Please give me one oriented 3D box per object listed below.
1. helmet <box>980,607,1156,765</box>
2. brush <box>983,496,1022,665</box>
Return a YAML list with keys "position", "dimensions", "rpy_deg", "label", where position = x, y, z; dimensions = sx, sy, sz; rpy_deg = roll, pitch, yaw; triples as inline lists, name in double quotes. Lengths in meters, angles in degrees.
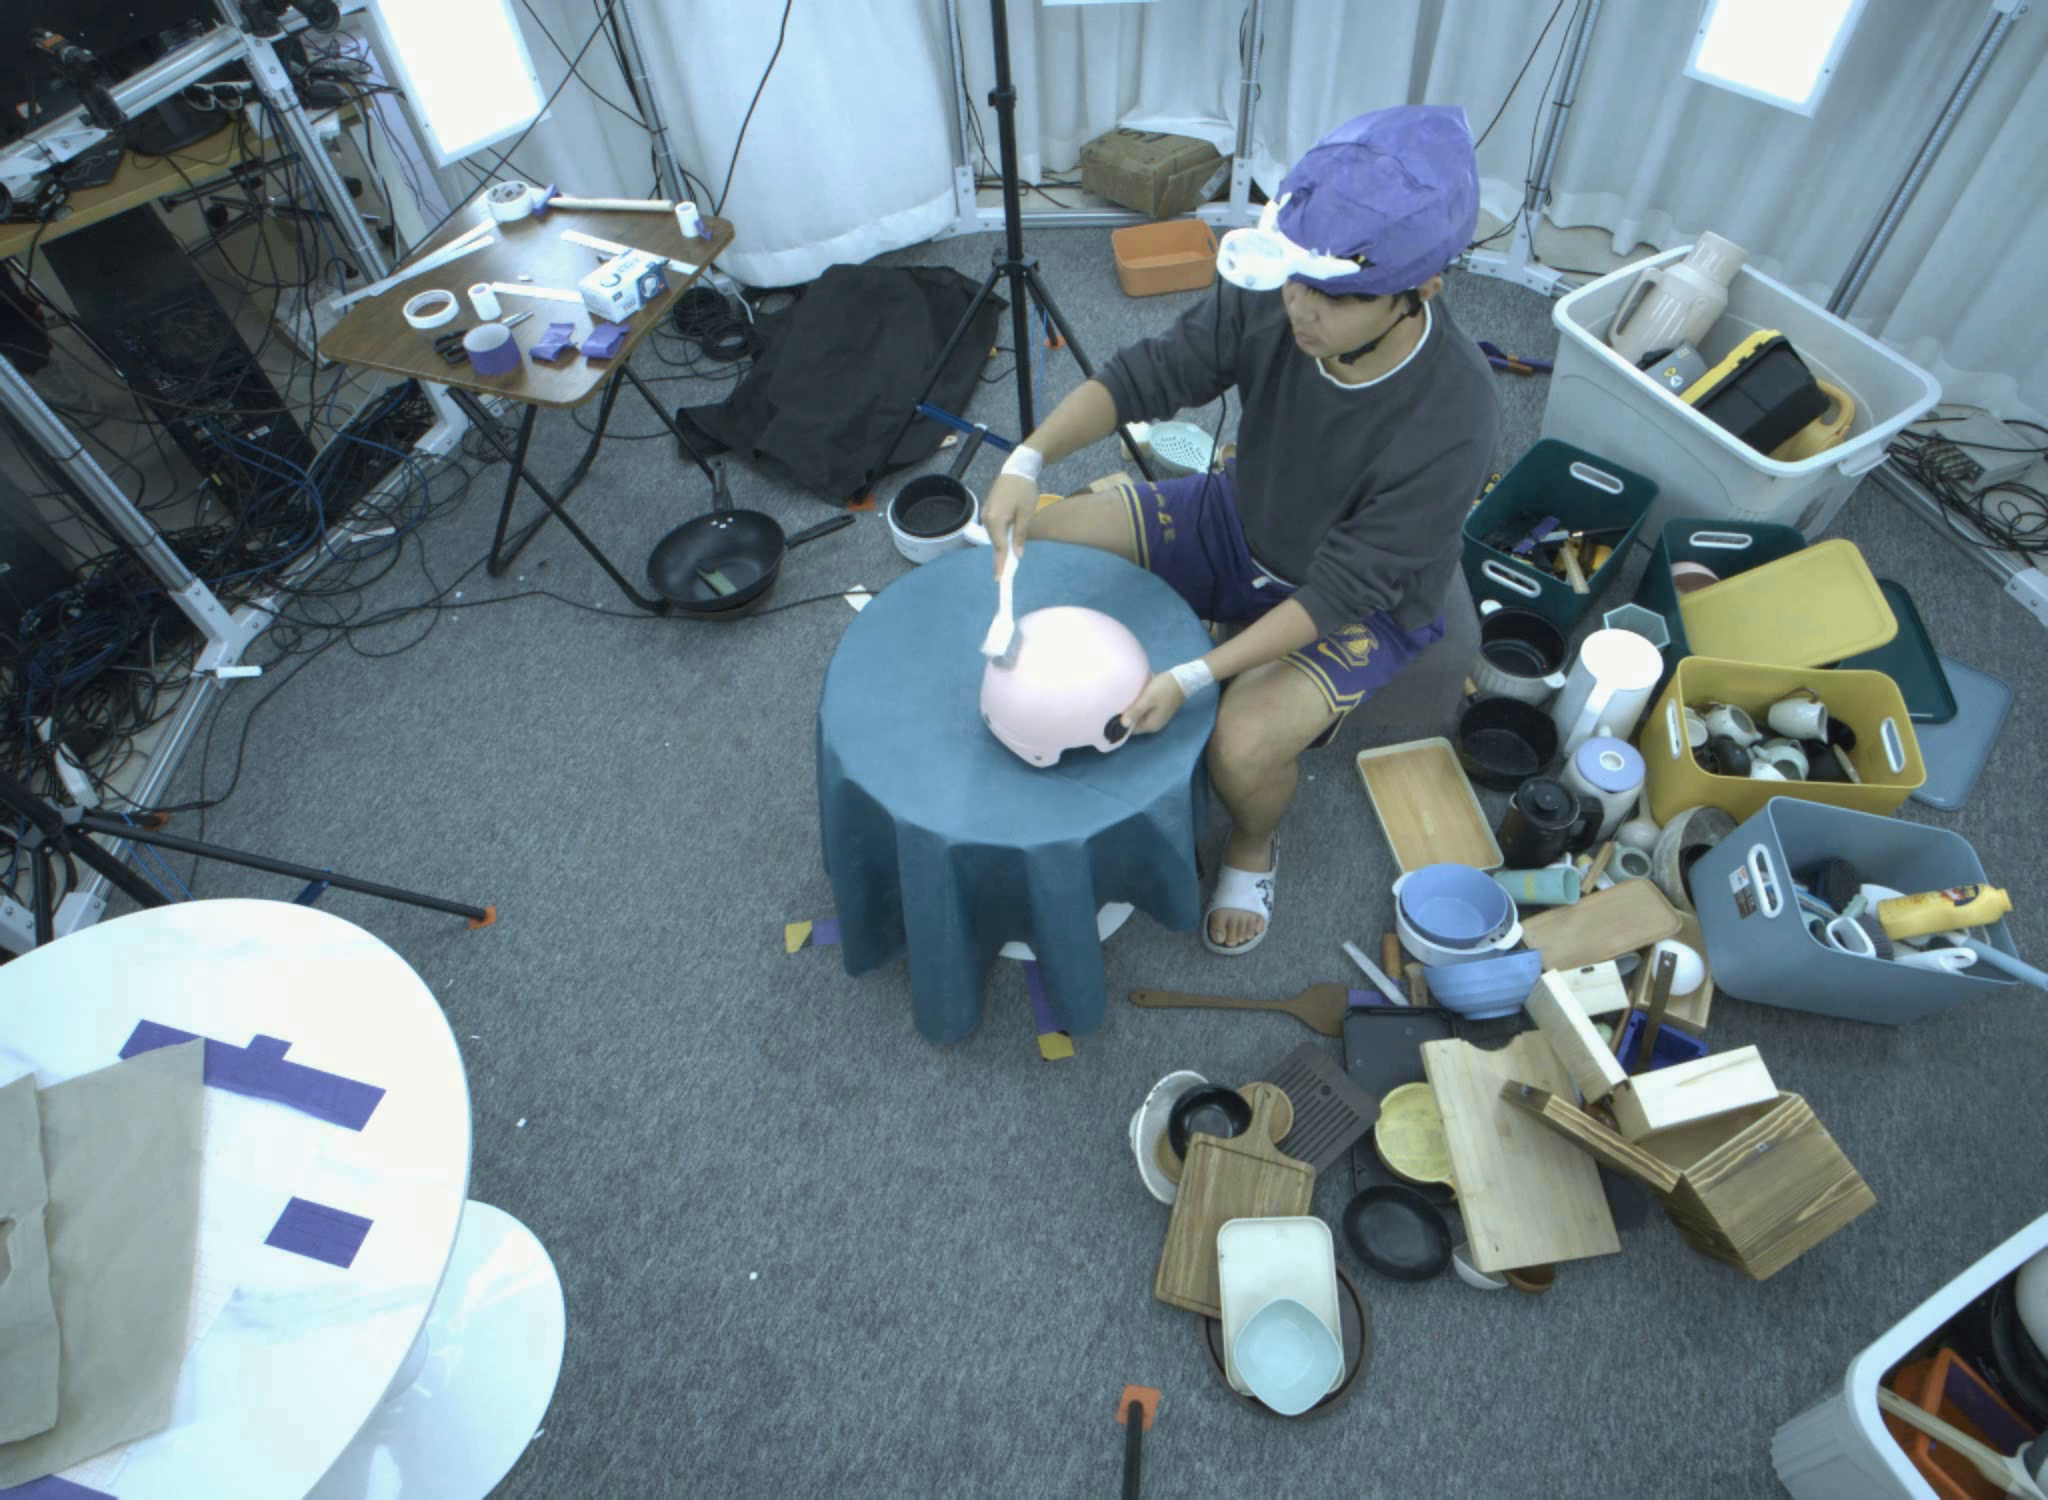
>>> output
- position: [0.064, -0.118, 1.770]
  dimensions: [0.268, 0.160, 0.229]
  rpy_deg: [-20, 51, -16]
  label: "helmet"
- position: [-0.019, -0.236, 1.712]
  dimensions: [0.034, 0.051, 0.242]
  rpy_deg: [-3, 74, 34]
  label: "brush"
